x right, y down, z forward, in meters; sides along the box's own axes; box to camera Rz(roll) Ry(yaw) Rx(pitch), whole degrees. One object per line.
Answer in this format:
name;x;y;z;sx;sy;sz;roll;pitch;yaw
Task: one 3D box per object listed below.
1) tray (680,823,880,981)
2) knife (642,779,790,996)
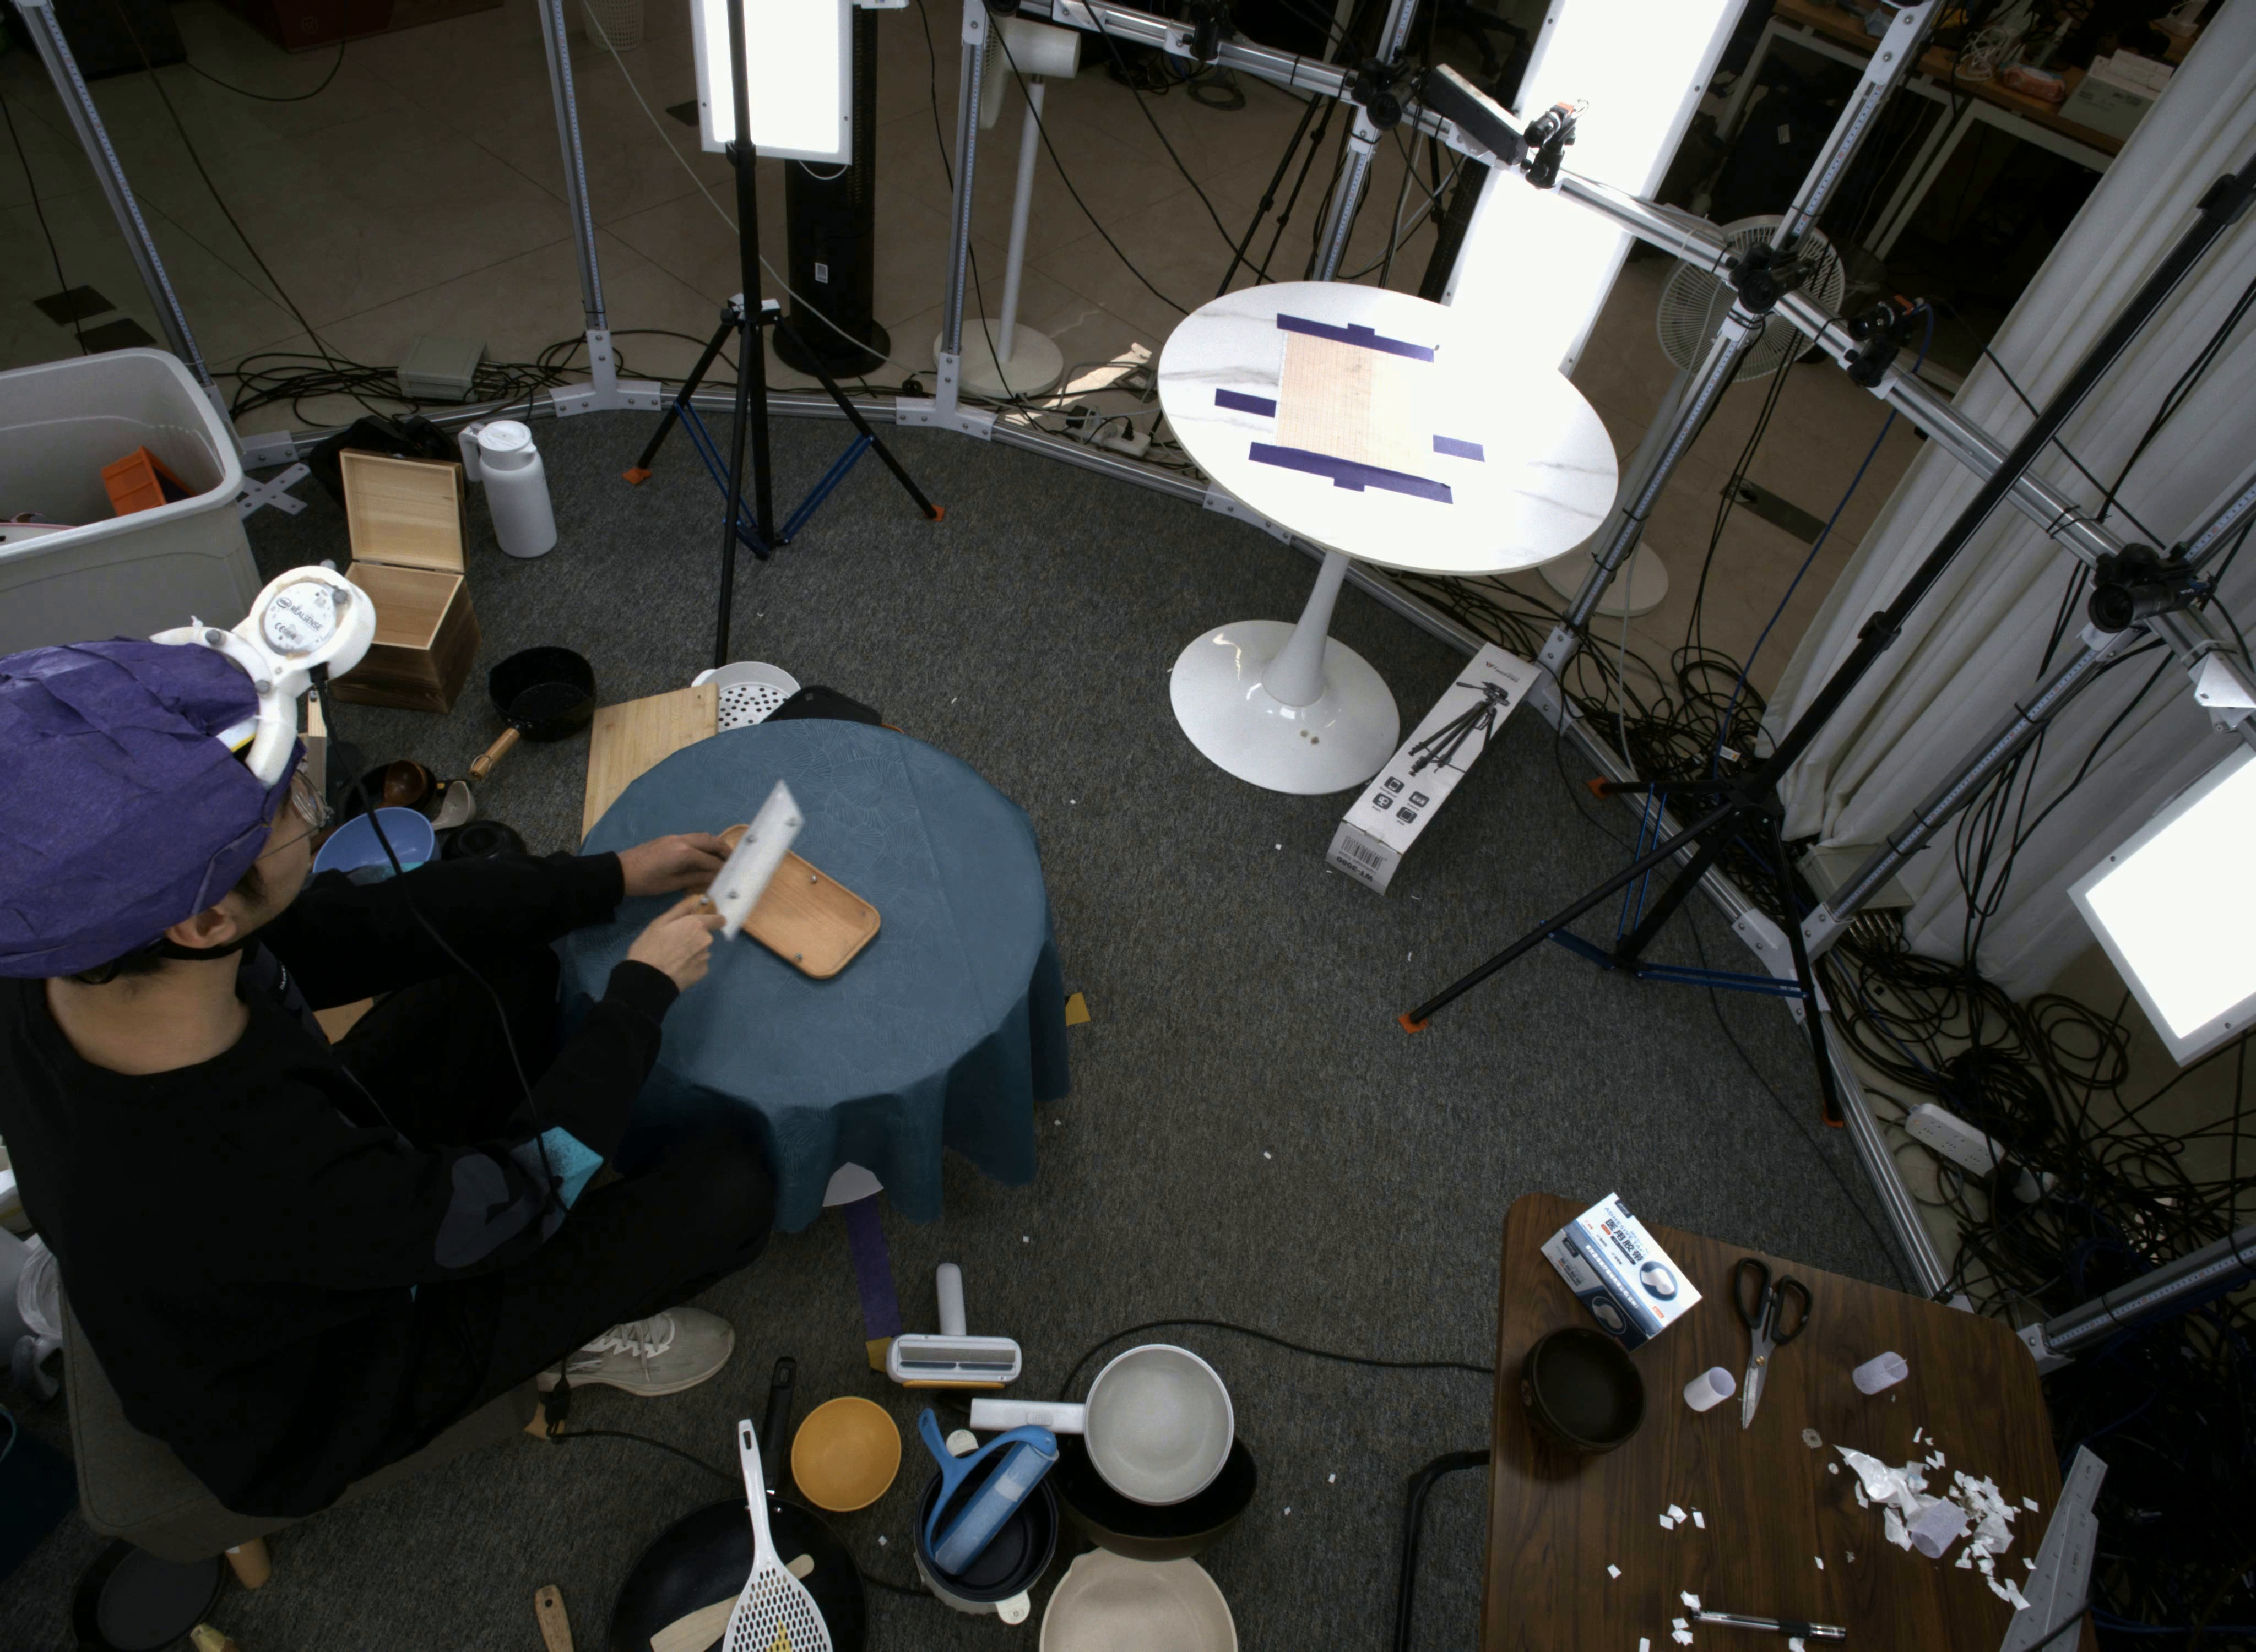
tray;-0.438;0.092;1.631;0.246;0.023;0.130;33;50;12
knife;-0.479;0.080;1.530;0.020;0.096;0.303;13;55;15
